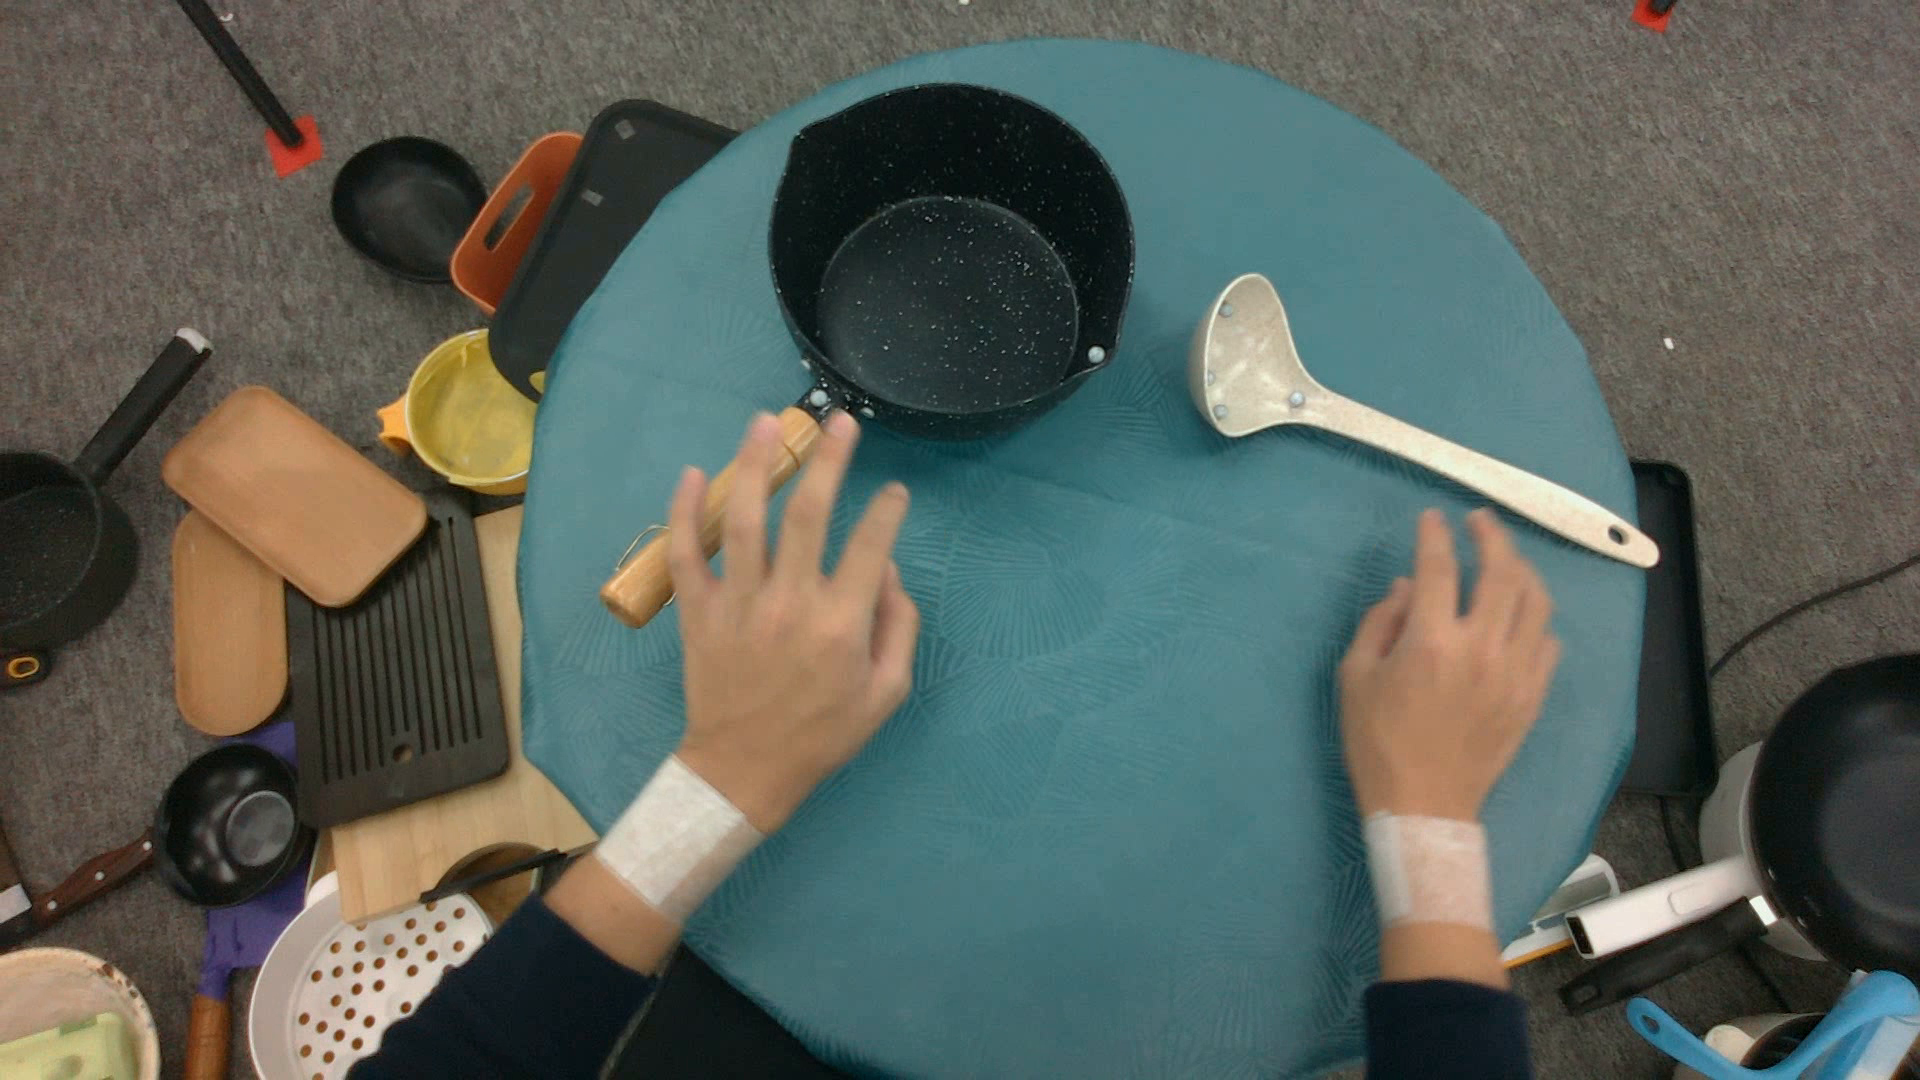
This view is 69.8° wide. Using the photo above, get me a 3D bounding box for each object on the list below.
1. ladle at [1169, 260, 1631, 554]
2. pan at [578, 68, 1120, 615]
[{"bbox_3d":[0.240,-0.063,0.725,0.275,0.069,0.089,23,67,4],"label":"ladle"},{"bbox_3d":[-0.060,-0.086,0.694,0.207,0.108,0.344,36,73,6],"label":"pan"}]
